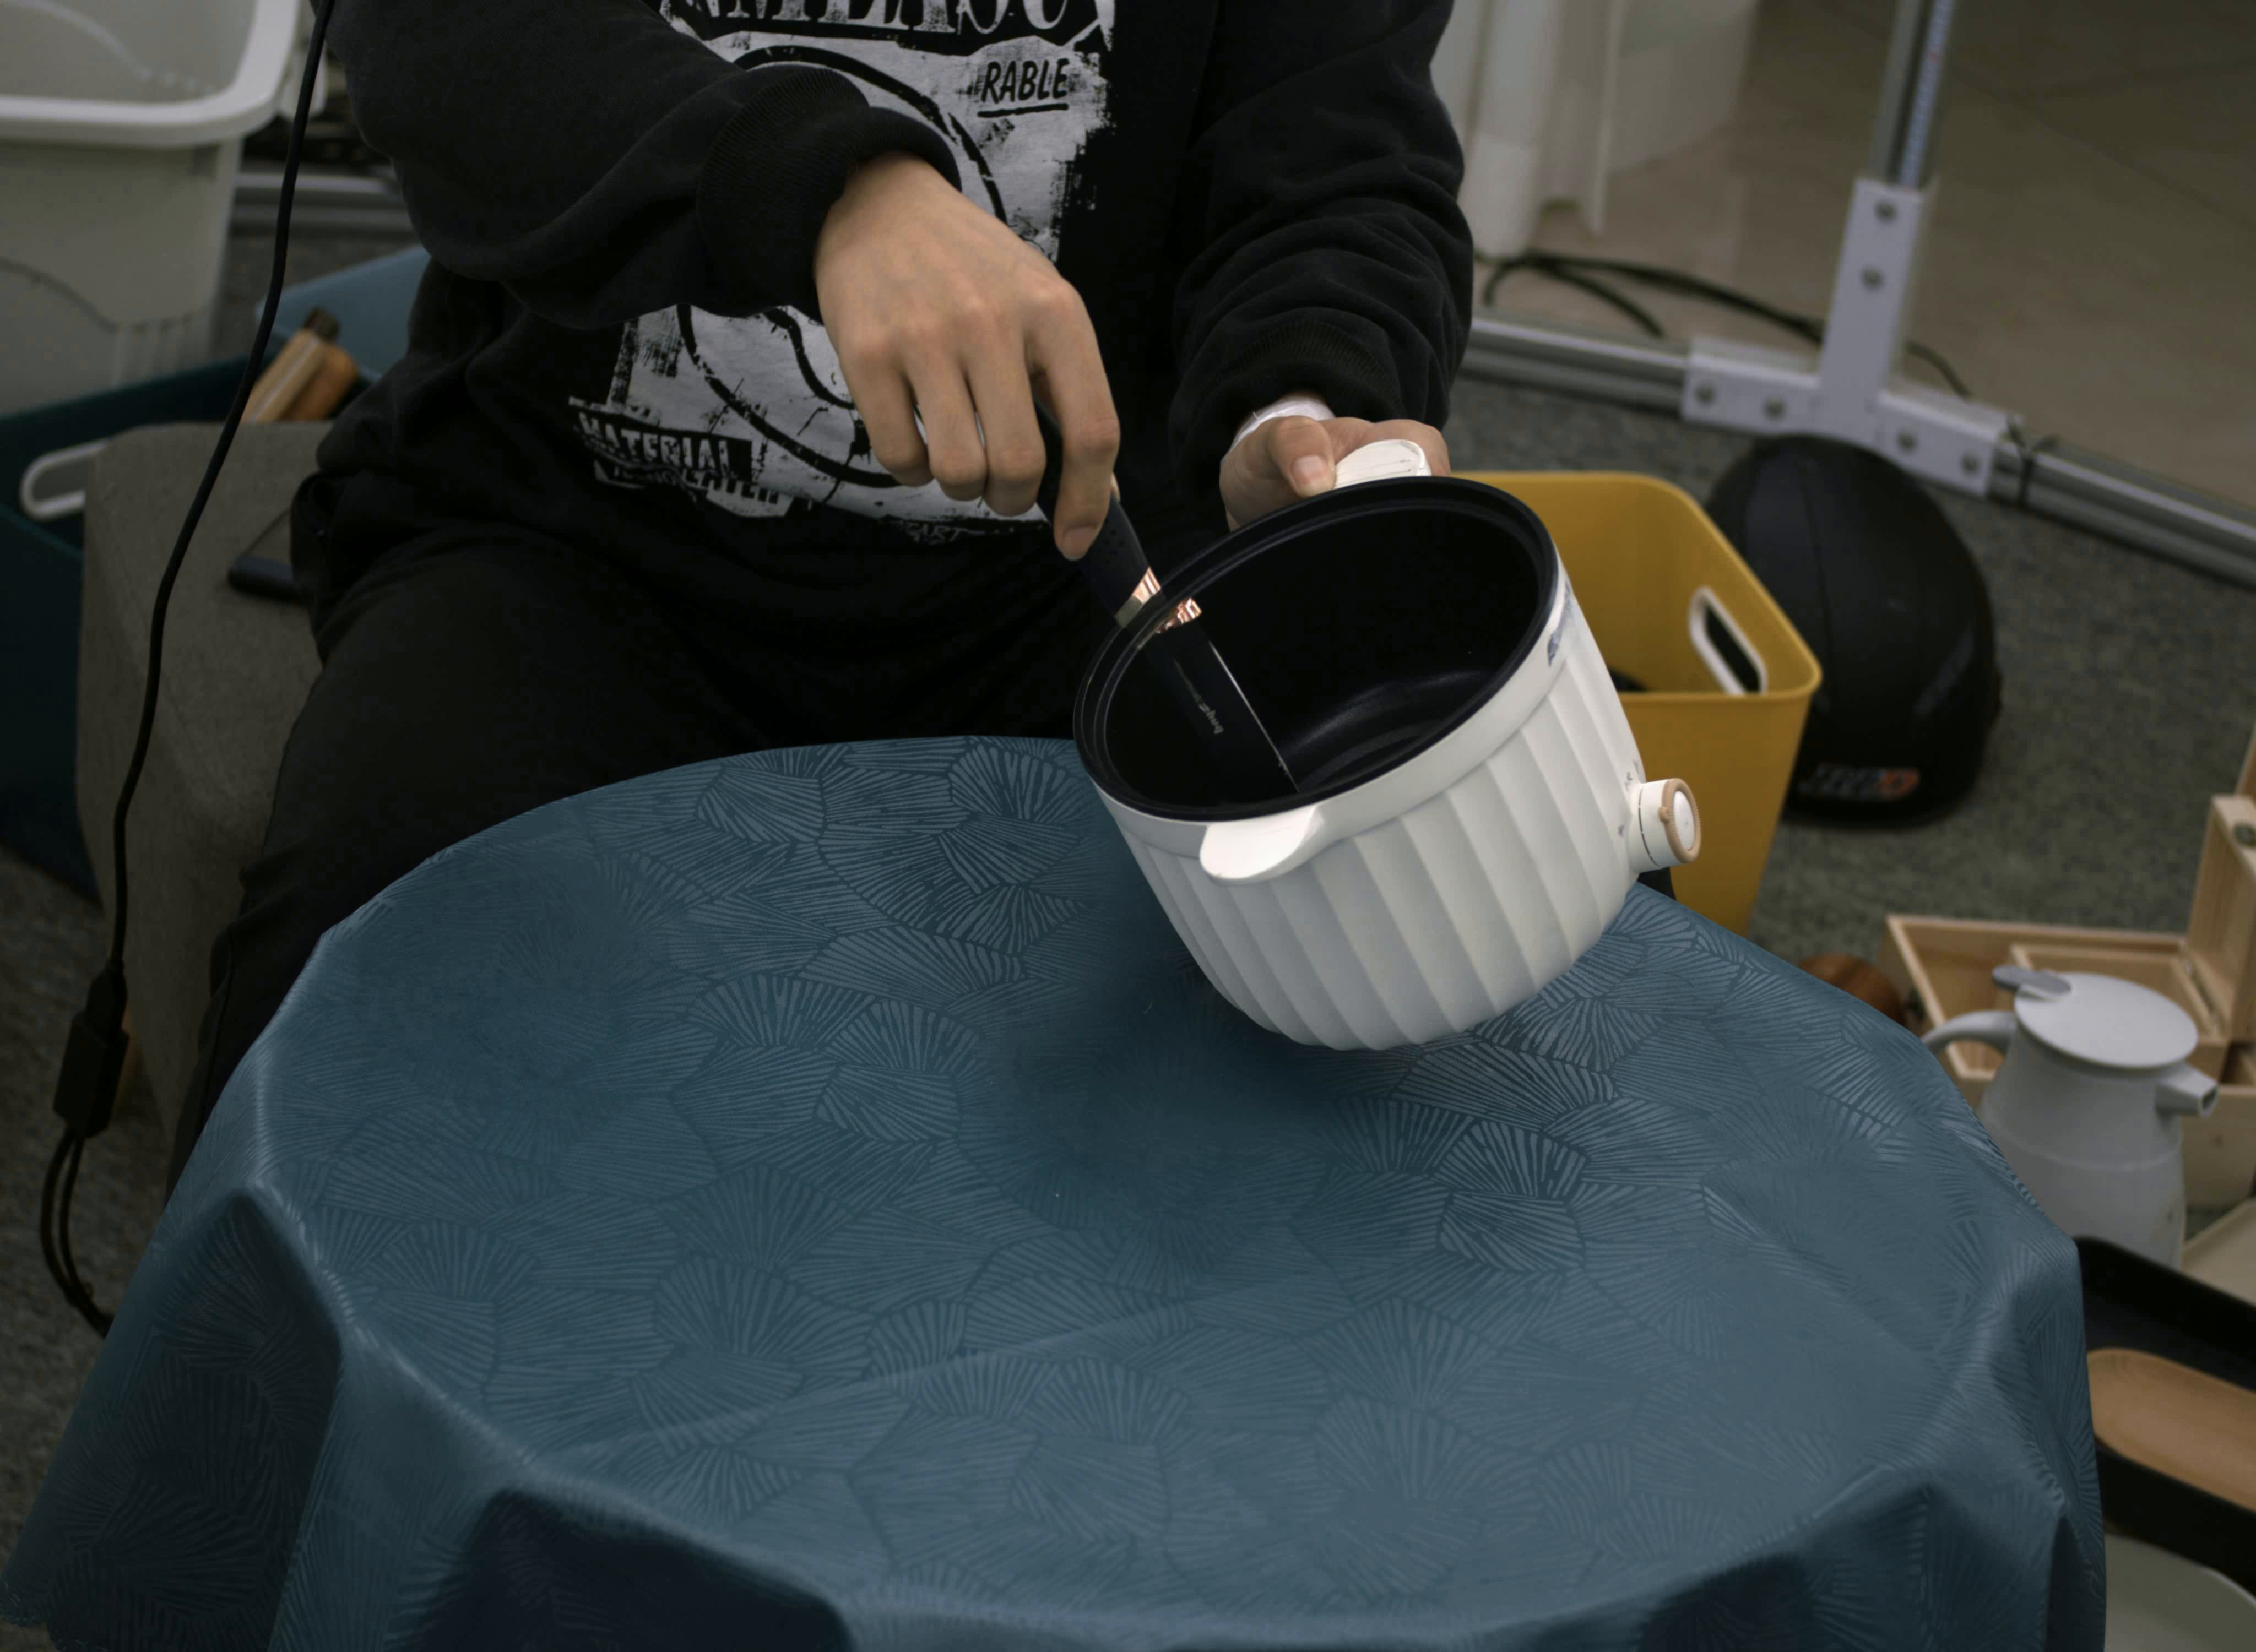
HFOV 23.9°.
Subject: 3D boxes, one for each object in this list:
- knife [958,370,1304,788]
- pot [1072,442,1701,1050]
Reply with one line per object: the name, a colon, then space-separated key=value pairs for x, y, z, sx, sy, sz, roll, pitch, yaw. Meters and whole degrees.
knife: x=0.013 y=-0.065 z=1.820 sx=0.026 sy=0.224 sz=0.017 roll=-39 pitch=14 yaw=-11
pot: x=0.094 y=-0.018 z=1.883 sx=0.191 sy=0.141 sz=0.242 roll=-14 pitch=36 yaw=27
